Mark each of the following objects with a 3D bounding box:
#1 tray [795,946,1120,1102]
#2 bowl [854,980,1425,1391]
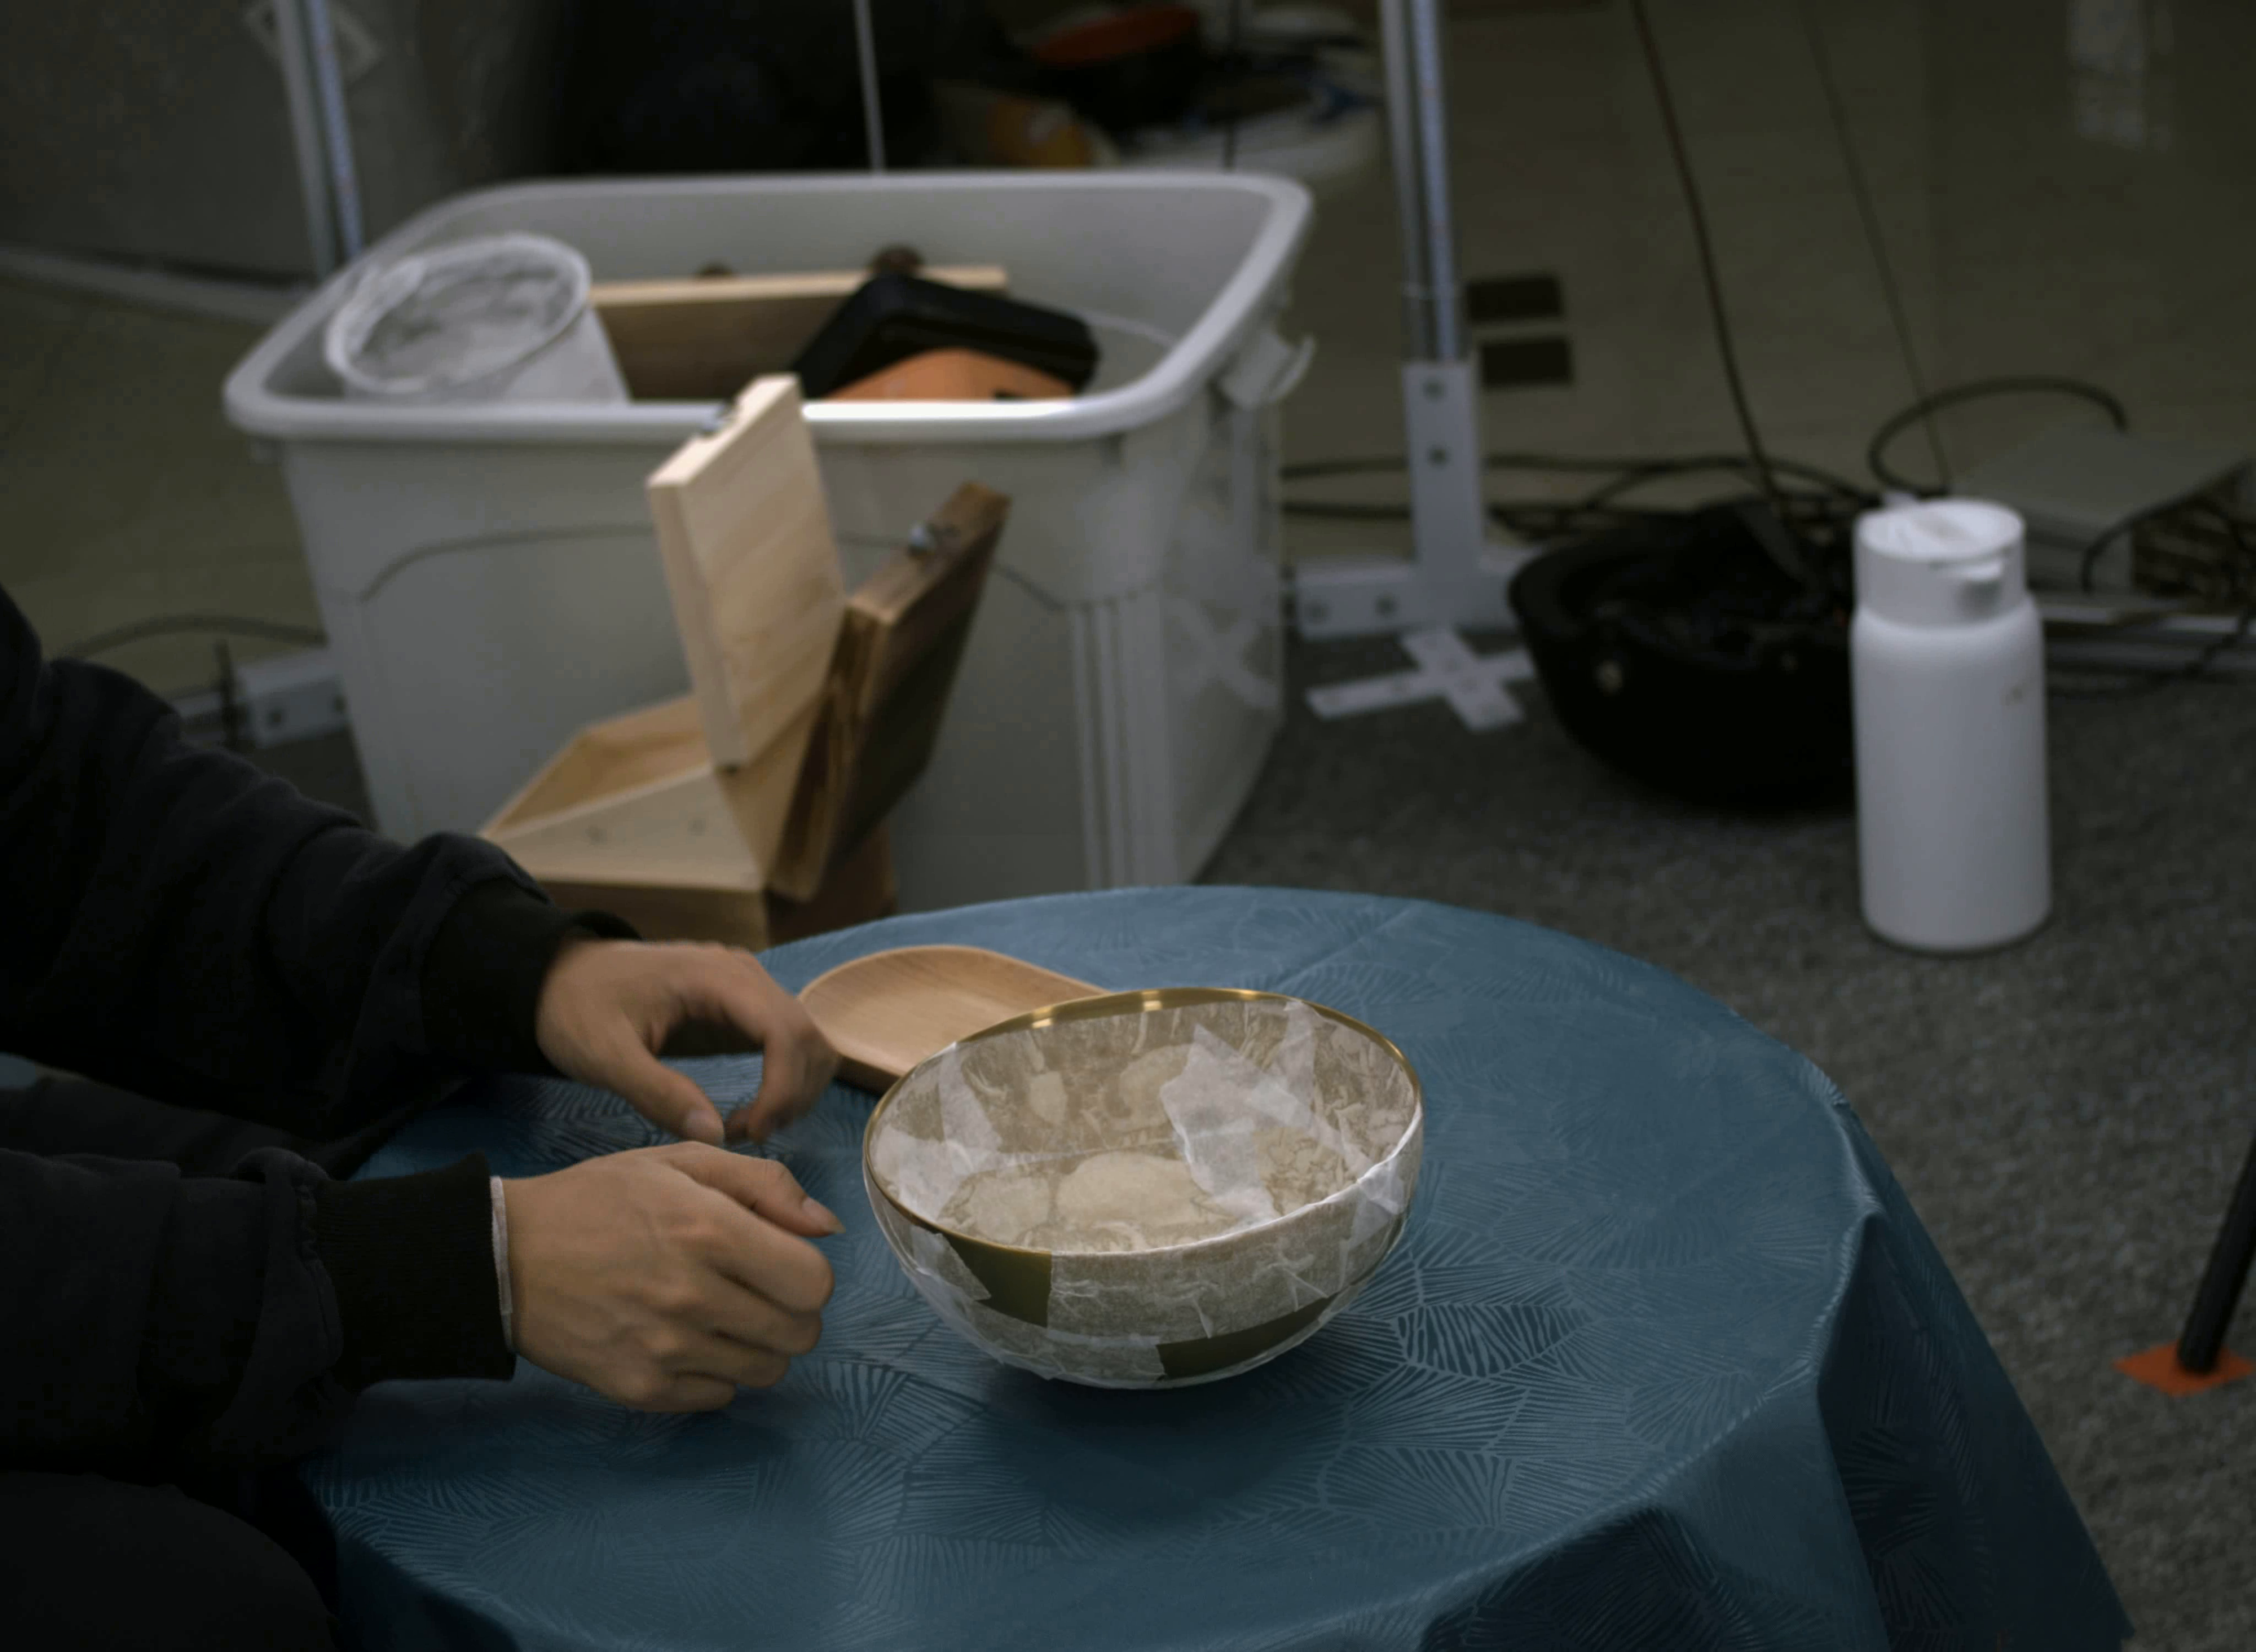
[{"bbox_3d":[-0.036,0.093,2.244,0.229,0.020,0.101,19,37,39],"label":"tray"},{"bbox_3d":[0.009,0.140,2.036,0.214,0.096,0.211,-6,26,3],"label":"bowl"}]
